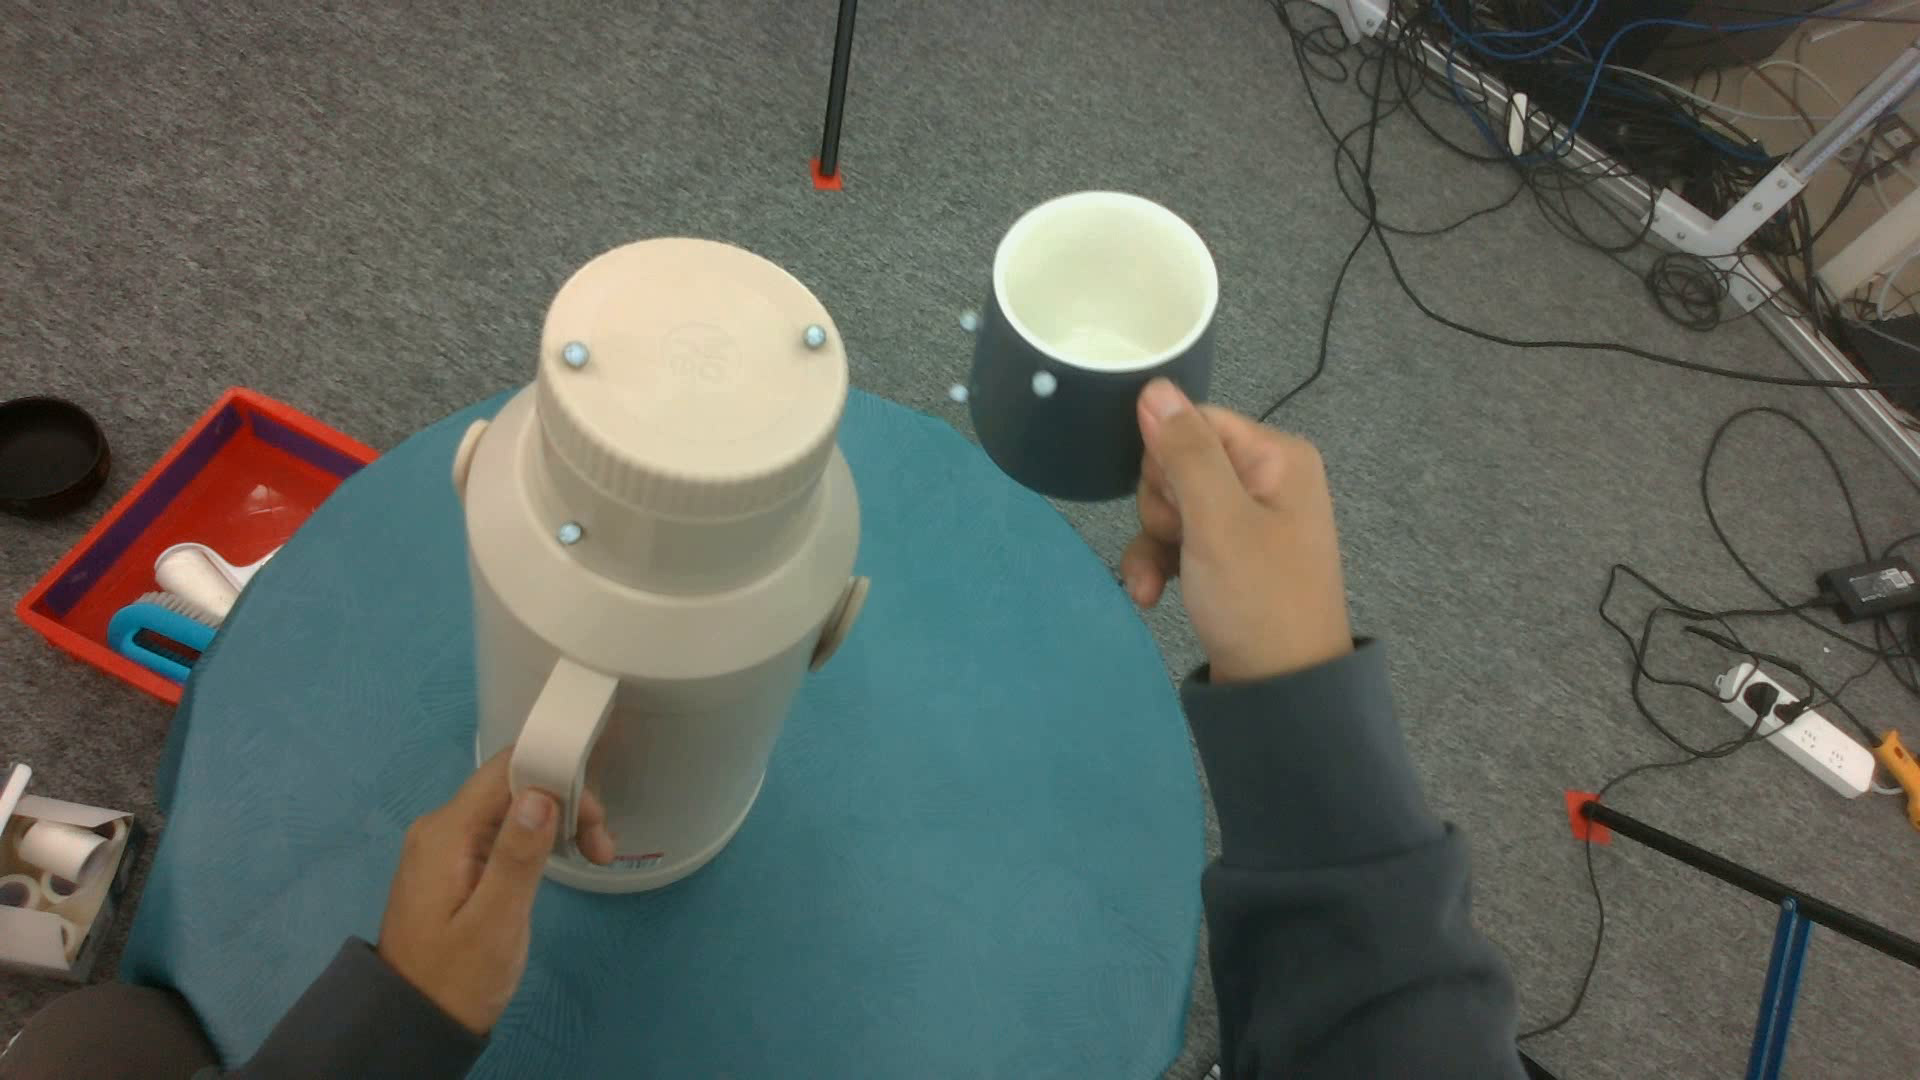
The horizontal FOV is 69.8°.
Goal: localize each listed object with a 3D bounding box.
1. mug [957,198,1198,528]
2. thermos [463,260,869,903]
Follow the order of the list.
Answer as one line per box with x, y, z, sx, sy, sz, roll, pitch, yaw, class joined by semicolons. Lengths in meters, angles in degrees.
0.052;-0.060;0.526;0.093;0.089;0.123;-25;63;-12;mug
-0.148;0.051;0.647;0.175;0.404;0.208;20;56;-5;thermos
